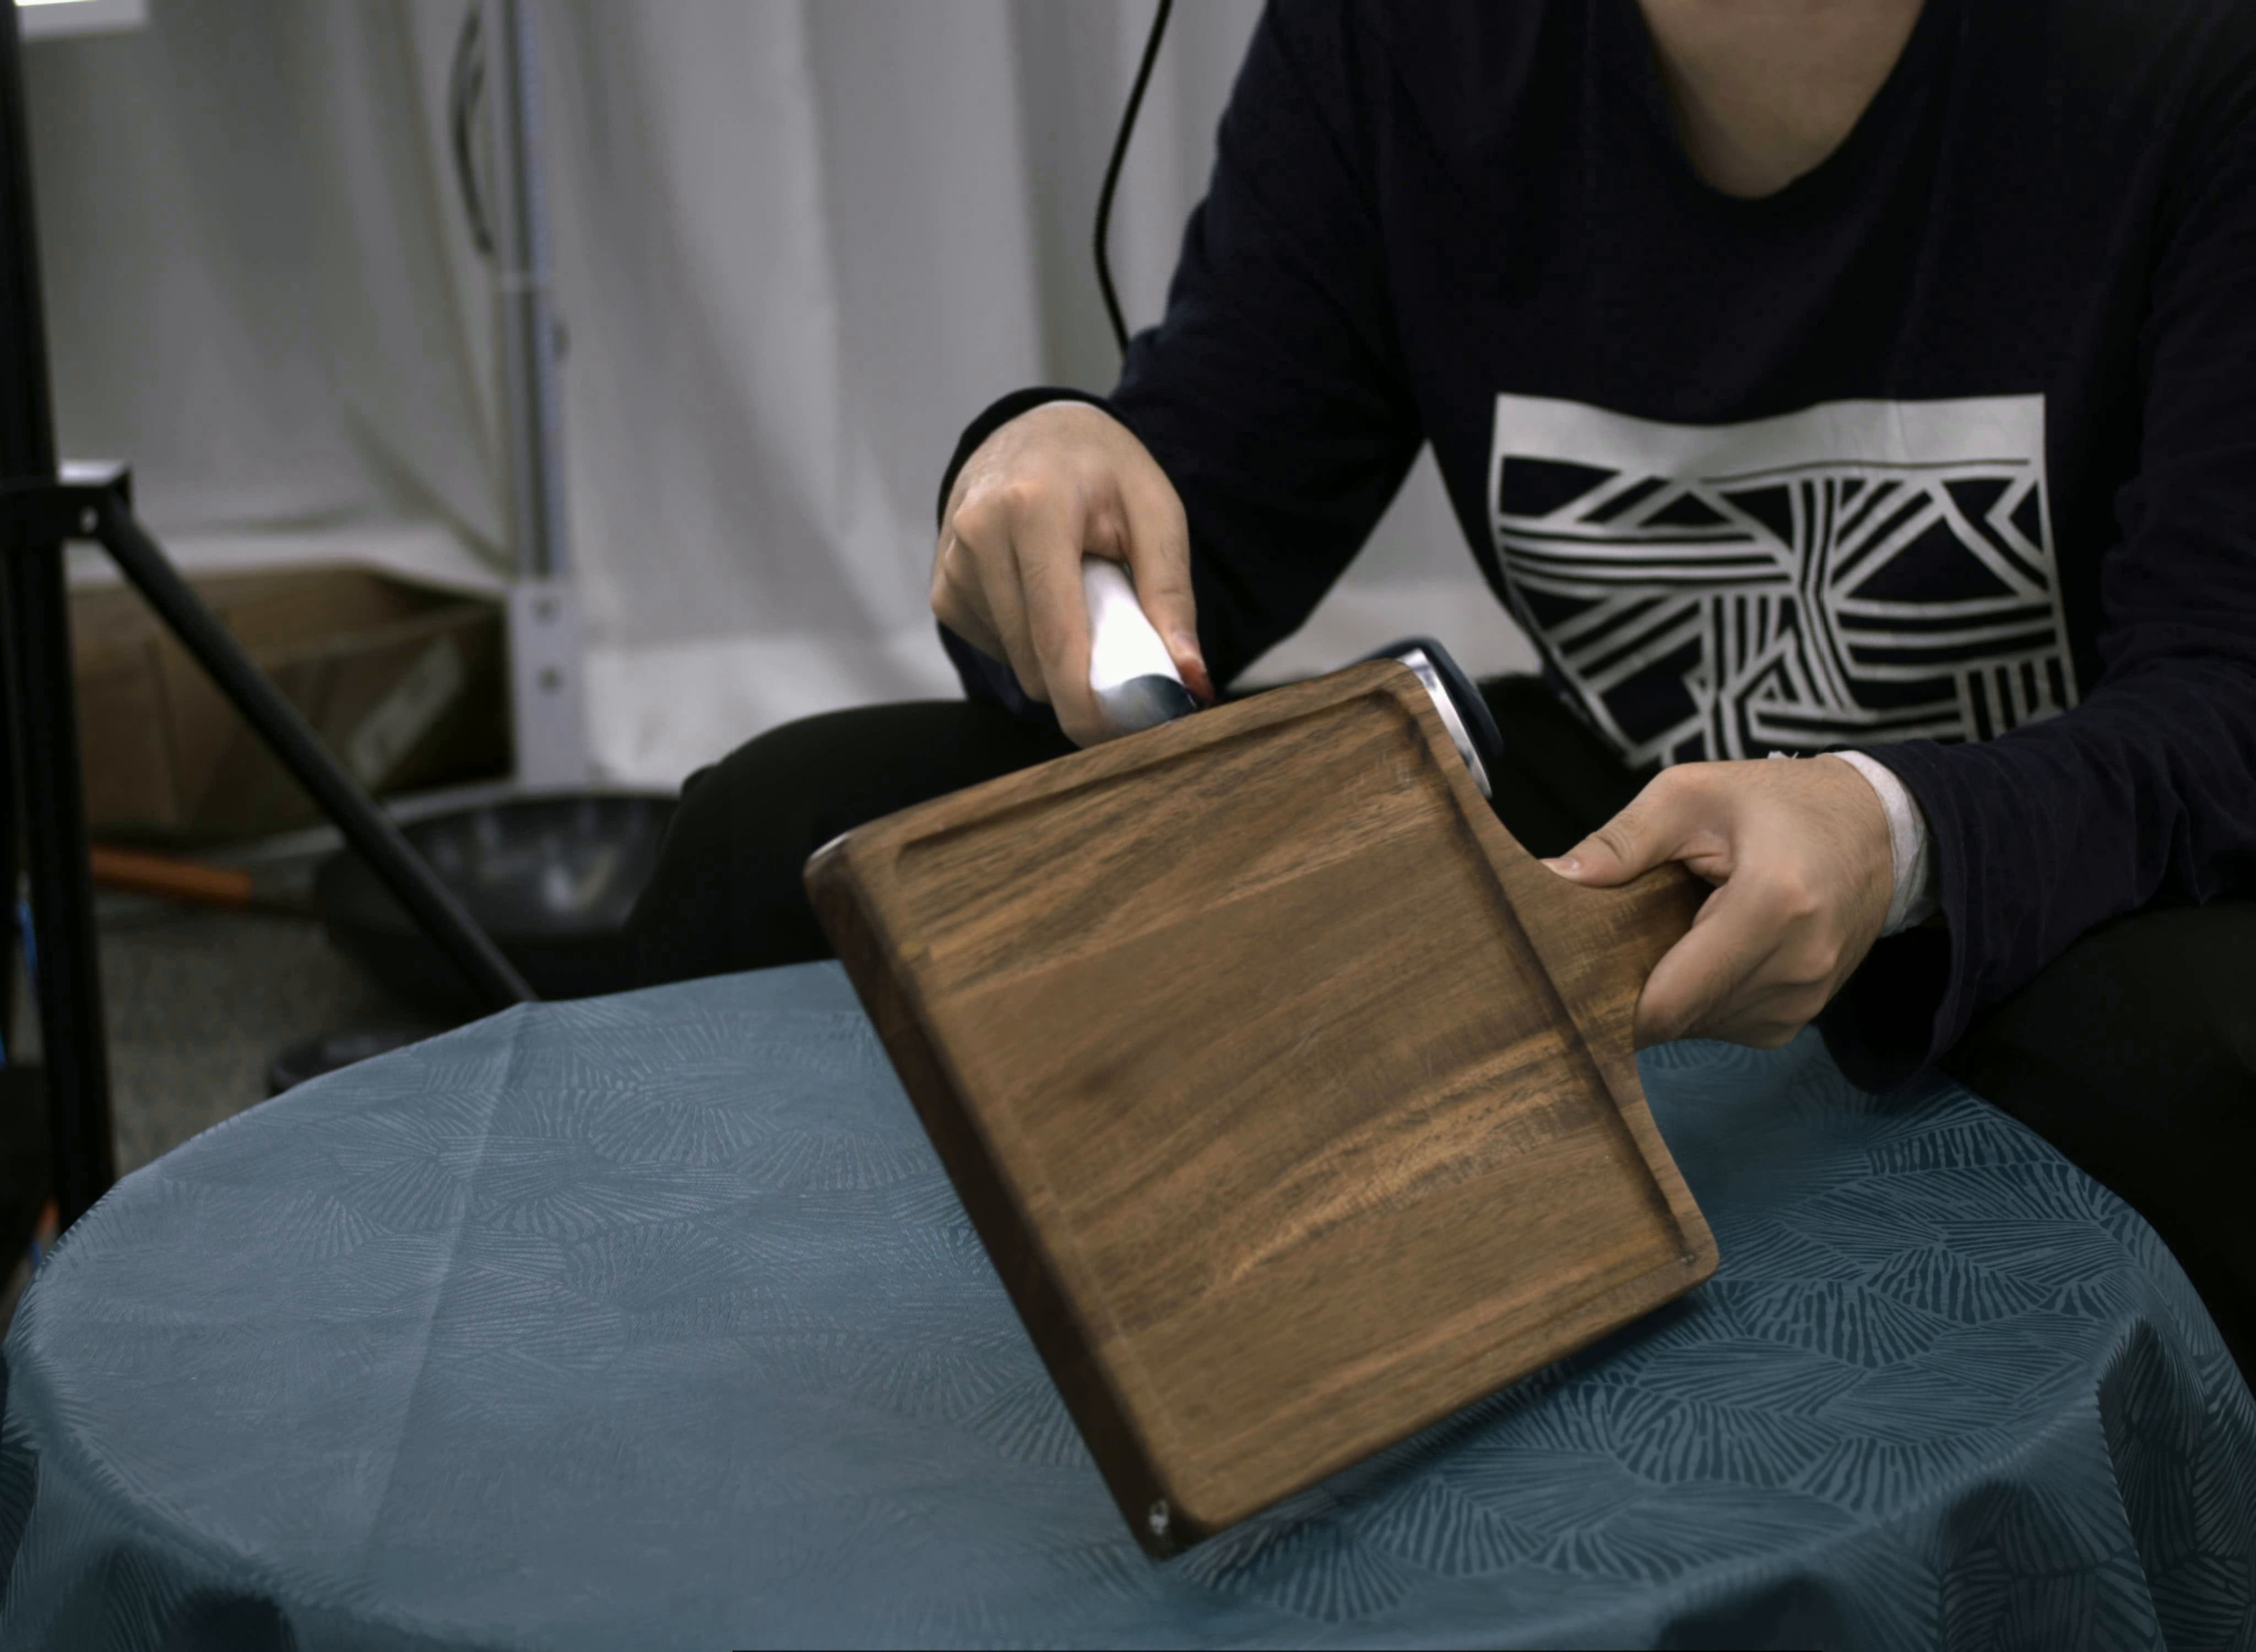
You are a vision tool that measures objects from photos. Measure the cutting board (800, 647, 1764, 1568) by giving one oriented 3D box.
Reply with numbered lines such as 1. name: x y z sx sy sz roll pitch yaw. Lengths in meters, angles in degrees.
1. cutting board: 0.071 0.055 1.418 0.023 0.203 0.344 -35 -11 40

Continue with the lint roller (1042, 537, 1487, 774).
1. lint roller: 0.001 -0.042 1.651 0.176 0.050 0.251 -29 28 1
